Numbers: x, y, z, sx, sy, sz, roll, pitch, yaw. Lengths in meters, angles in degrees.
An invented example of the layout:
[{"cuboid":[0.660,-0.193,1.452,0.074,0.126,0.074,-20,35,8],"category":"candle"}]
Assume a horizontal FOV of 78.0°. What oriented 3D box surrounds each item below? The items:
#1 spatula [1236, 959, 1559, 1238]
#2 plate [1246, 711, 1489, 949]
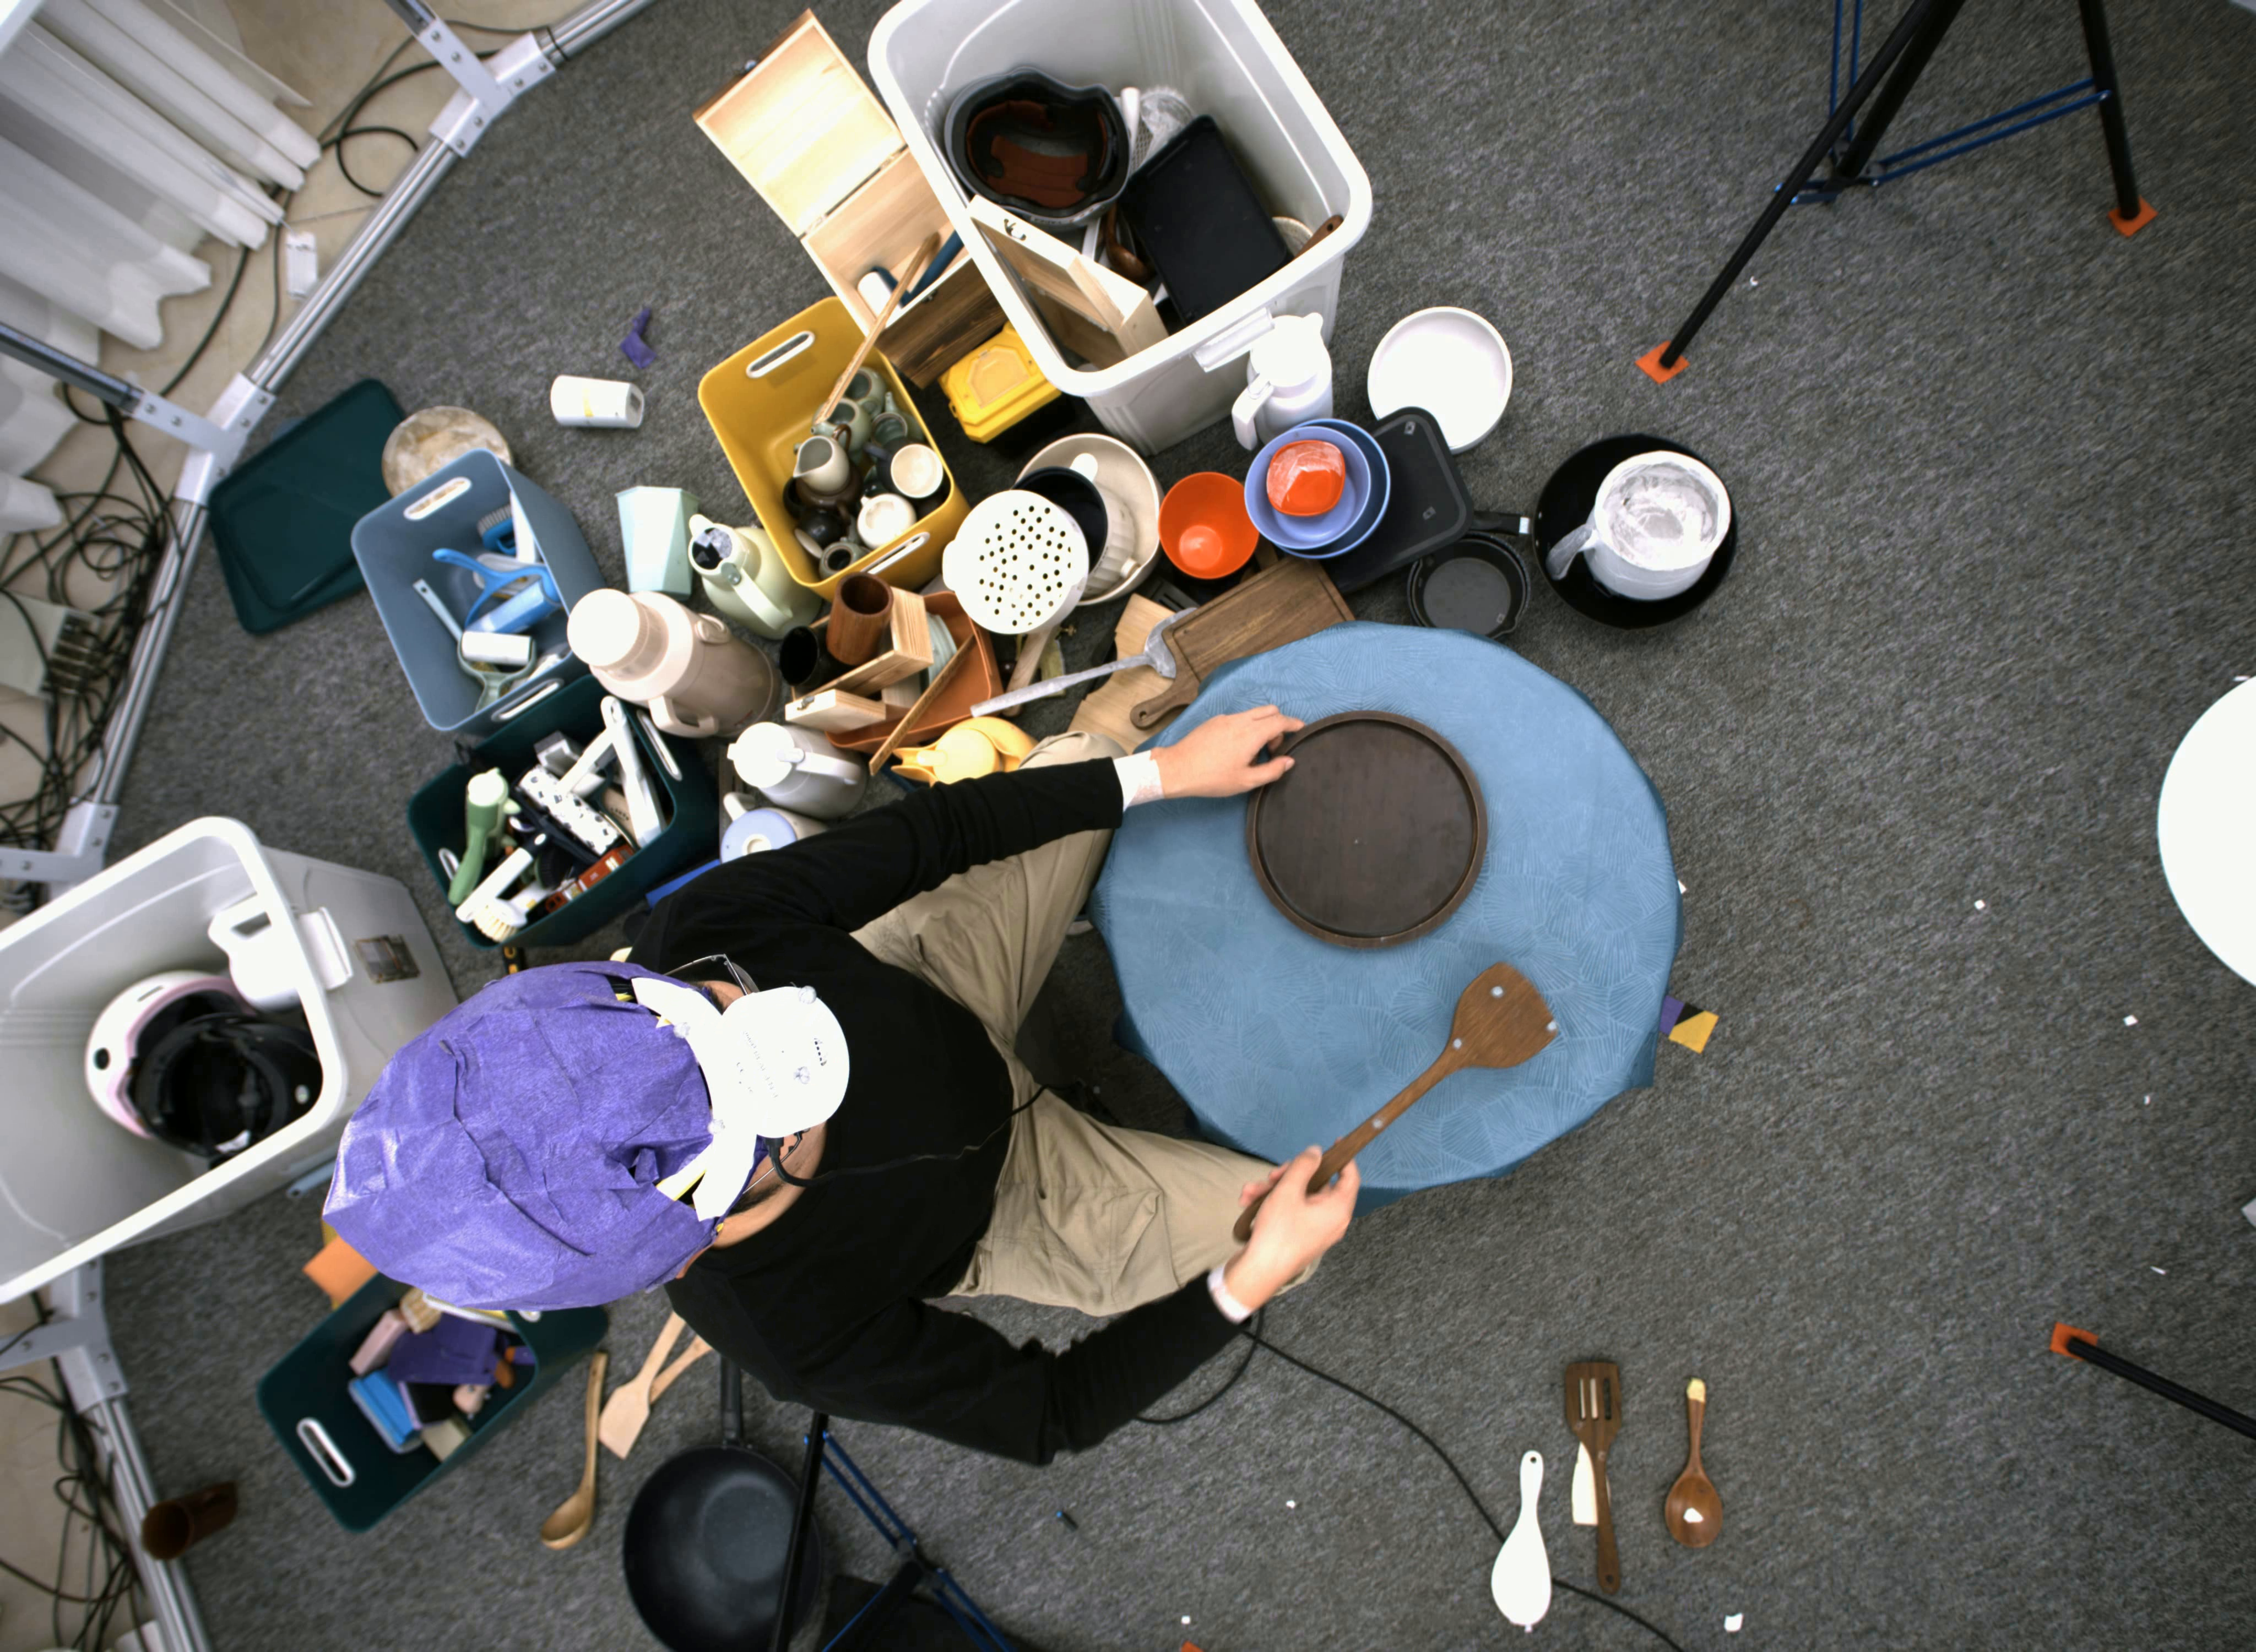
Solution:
[{"cuboid":[0.254,0.264,1.312,0.382,0.016,0.096,-35,87,-14],"category":"spatula"},{"cuboid":[0.251,0.003,1.455,0.256,0.029,0.254,-1,88,10],"category":"plate"}]
